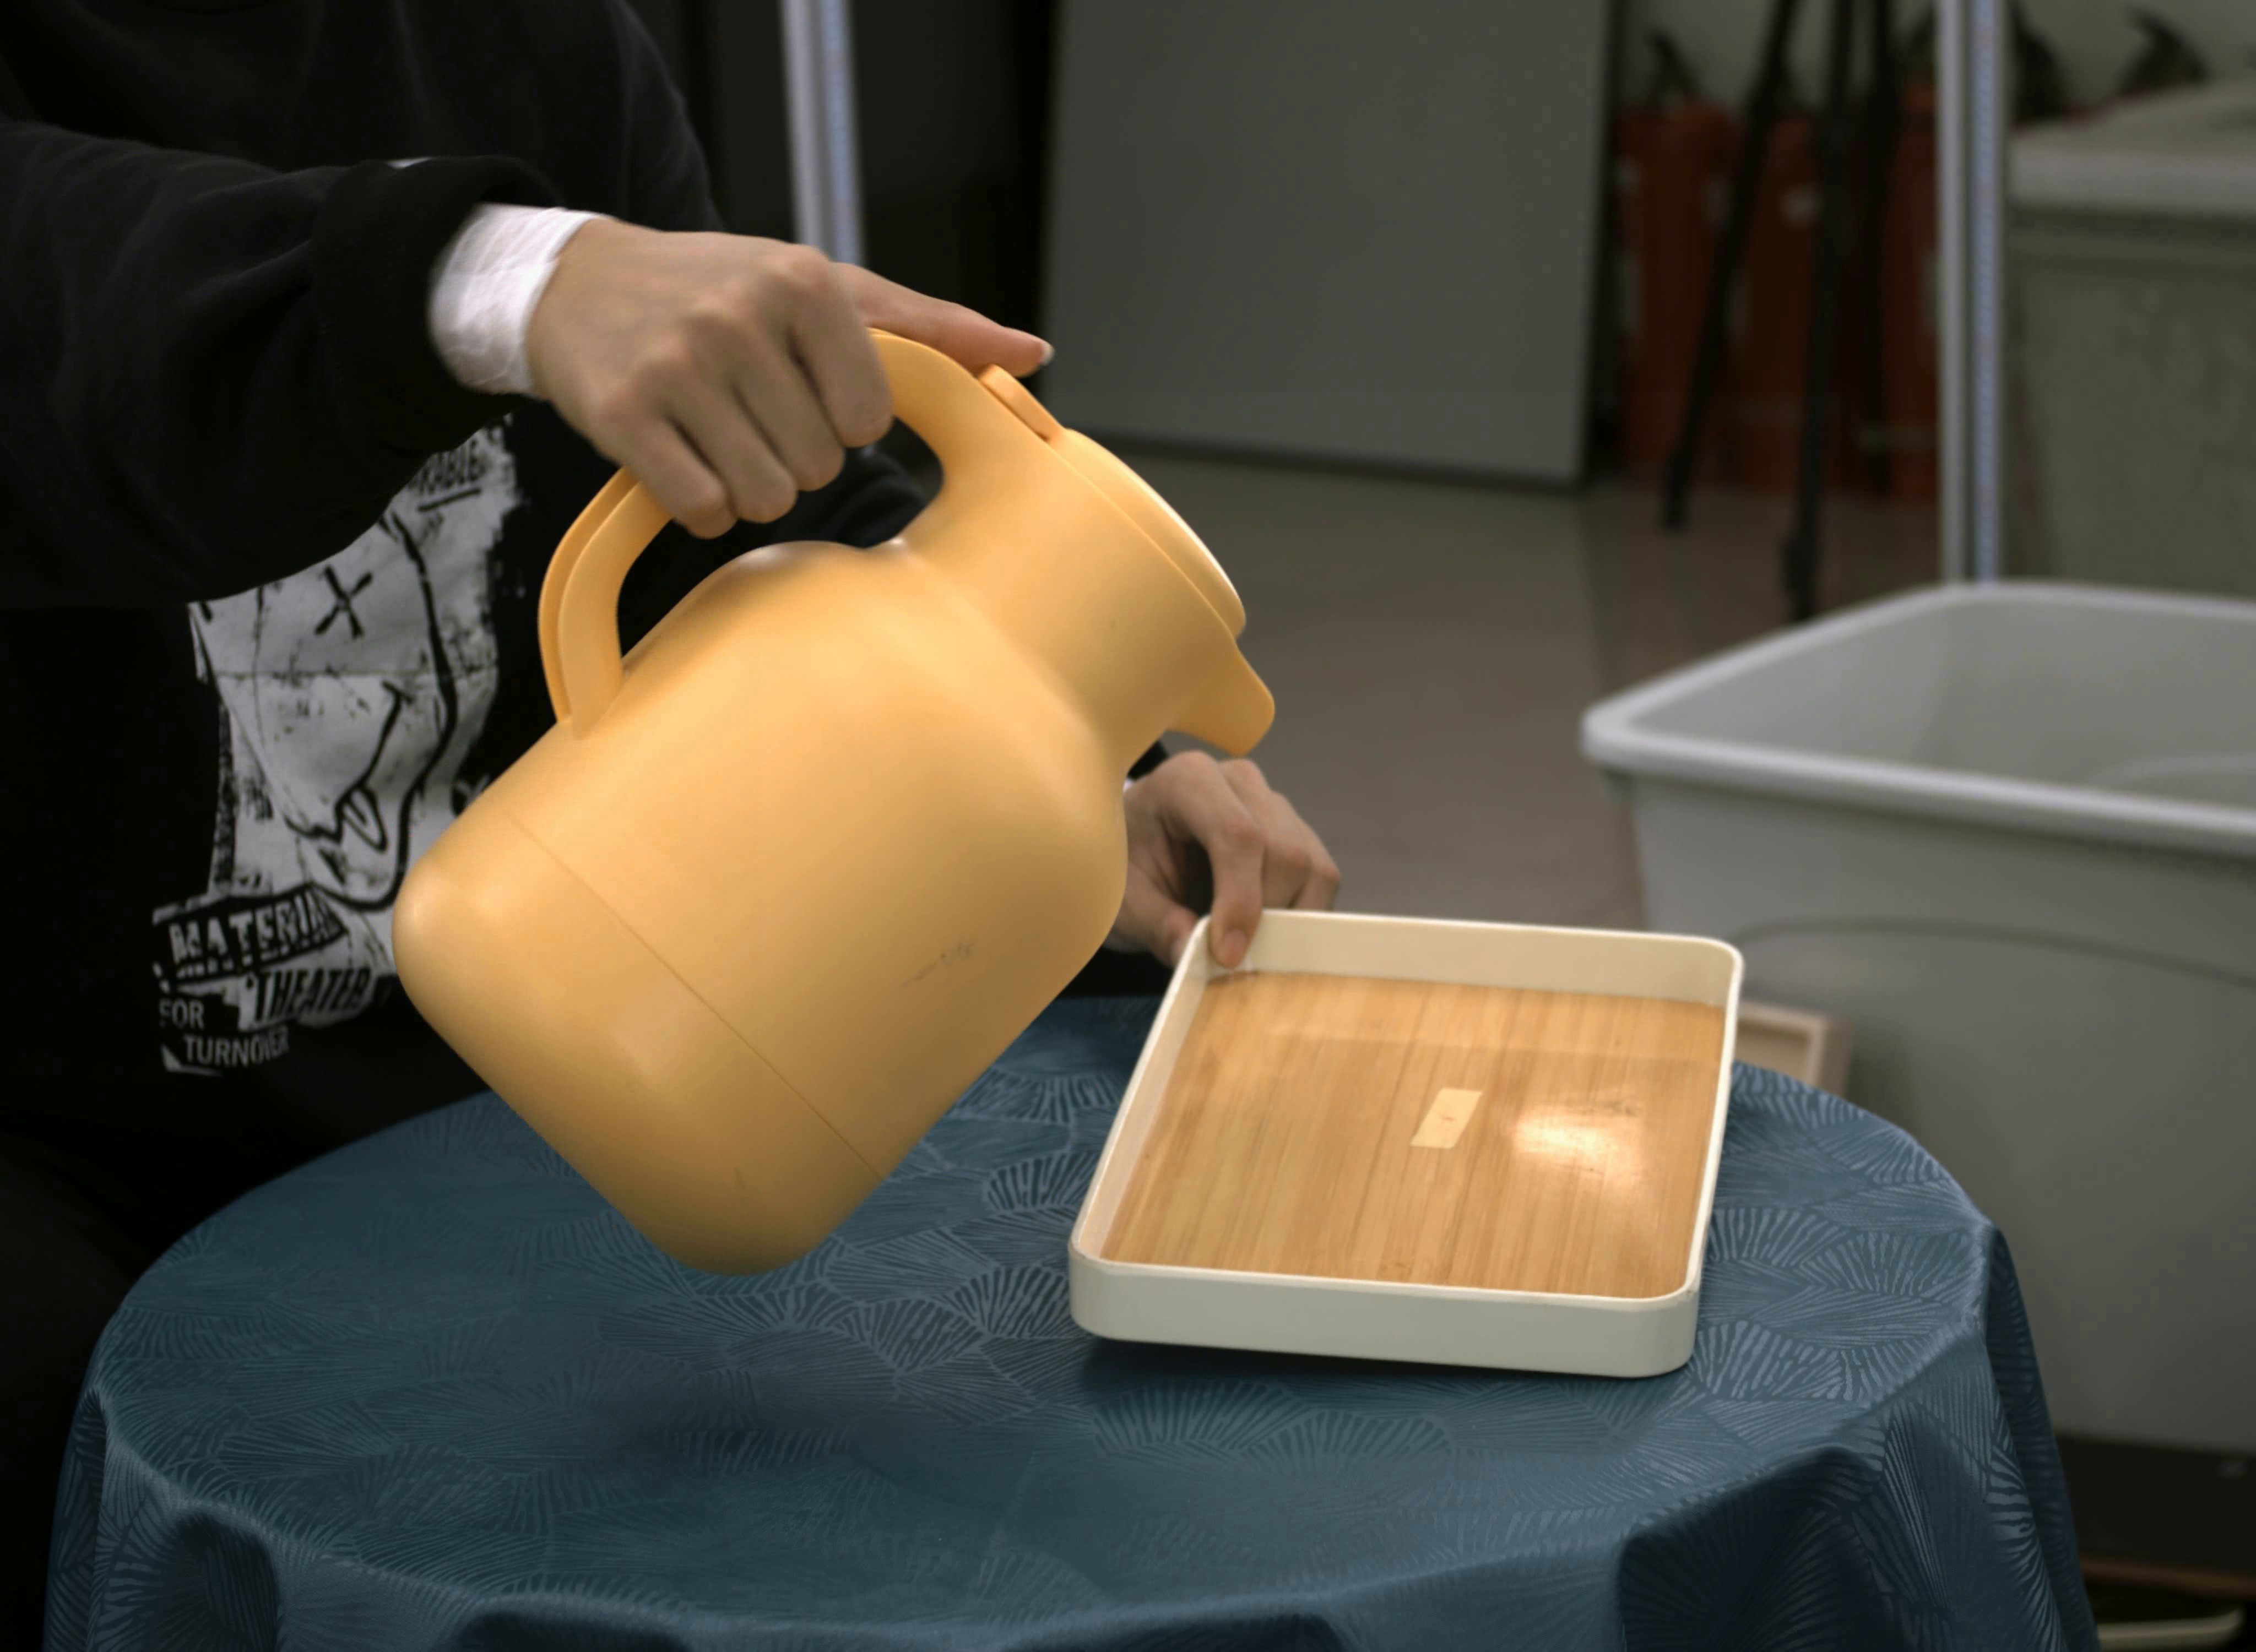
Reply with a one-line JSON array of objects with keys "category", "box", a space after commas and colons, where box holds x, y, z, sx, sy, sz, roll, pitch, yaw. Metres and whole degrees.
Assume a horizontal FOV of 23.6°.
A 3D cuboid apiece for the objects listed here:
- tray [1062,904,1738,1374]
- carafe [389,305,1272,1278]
[{"category": "tray", "box": [0.093, 0.094, 1.715, 0.190, 0.028, 0.299, 3, 20, 9]}, {"category": "carafe", "box": [-0.094, -0.019, 1.568, 0.259, 0.201, 0.165, -45, 18, -9]}]
